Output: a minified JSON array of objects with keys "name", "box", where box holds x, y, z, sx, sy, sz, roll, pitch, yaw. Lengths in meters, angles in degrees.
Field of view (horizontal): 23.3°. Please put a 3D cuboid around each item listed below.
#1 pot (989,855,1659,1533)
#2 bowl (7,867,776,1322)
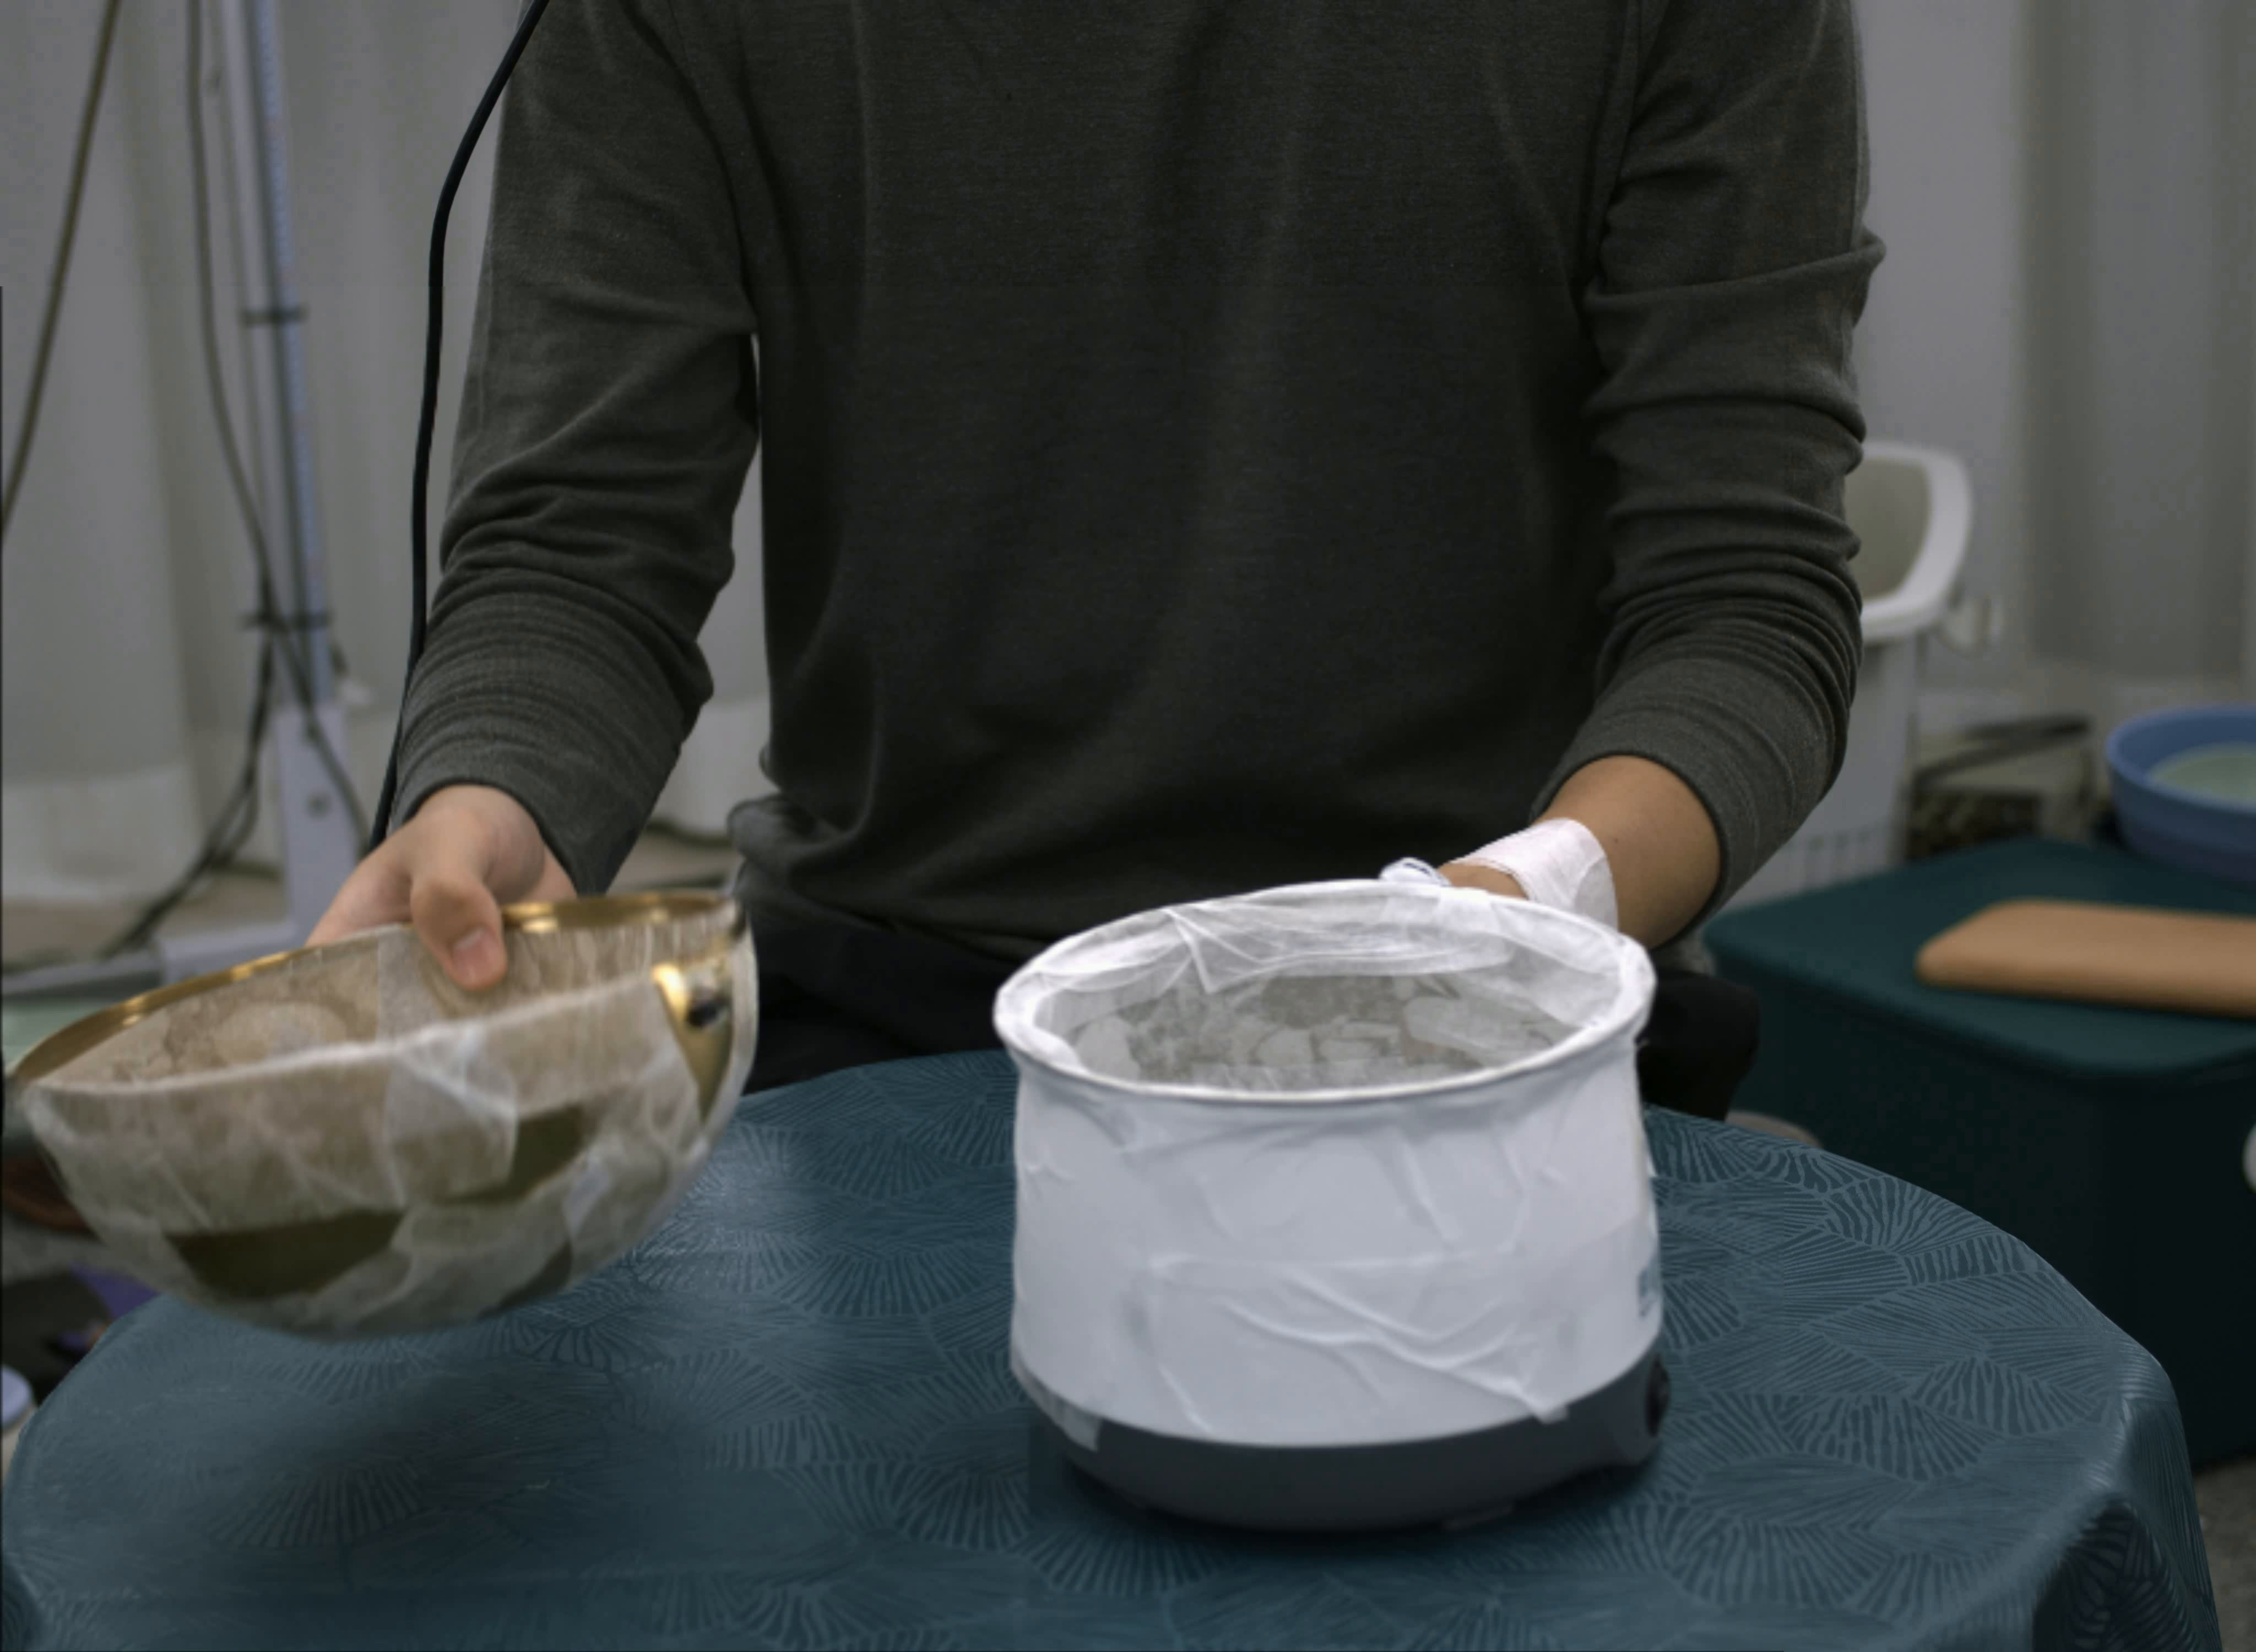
[{"name":"pot","box":[0.061,0.095,1.505,0.178,0.136,0.235,2,17,16]},{"name":"bowl","box":[-0.187,0.079,1.470,0.214,0.094,0.215,-13,7,1]}]
